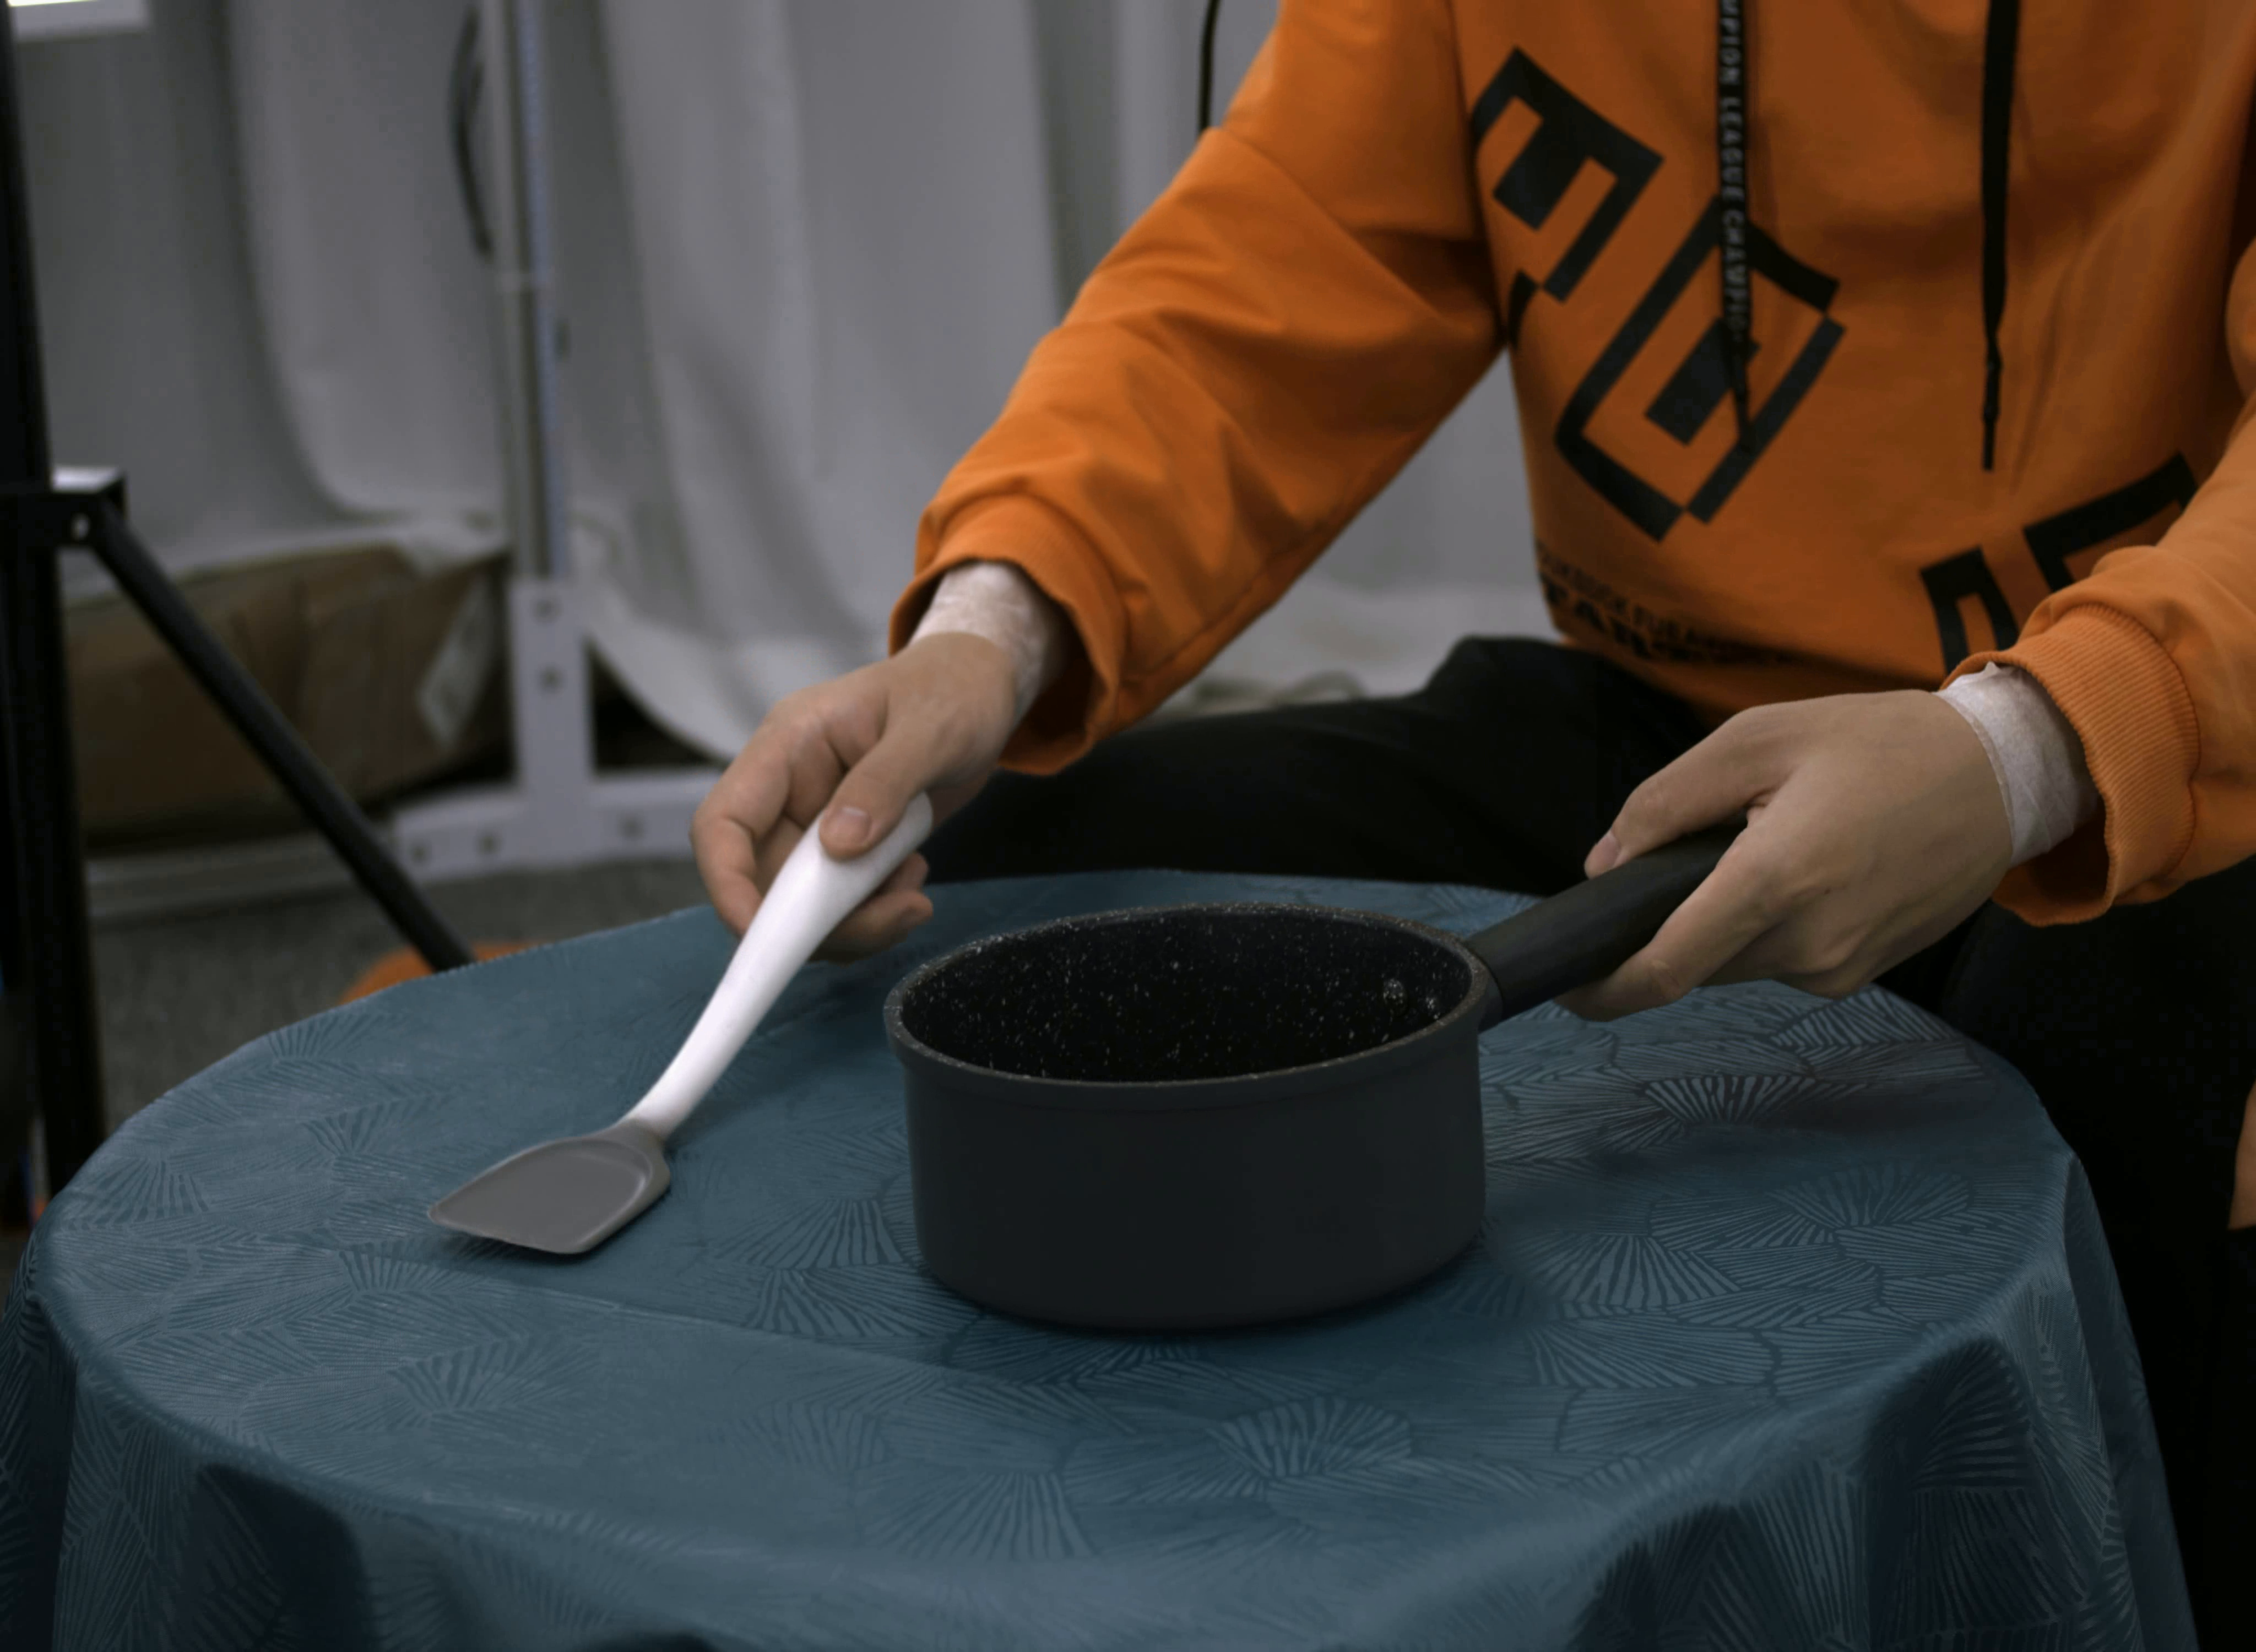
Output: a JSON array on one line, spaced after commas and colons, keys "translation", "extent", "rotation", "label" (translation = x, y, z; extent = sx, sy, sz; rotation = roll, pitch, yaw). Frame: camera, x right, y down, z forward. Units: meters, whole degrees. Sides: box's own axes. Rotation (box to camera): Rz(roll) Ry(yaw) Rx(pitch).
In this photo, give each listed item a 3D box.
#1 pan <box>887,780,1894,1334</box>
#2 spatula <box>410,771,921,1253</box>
[{"translation": [0.086, 0.063, 1.538], "extent": [0.322, 0.086, 0.176], "rotation": [-14, 19, -27], "label": "pan"}, {"translation": [-0.133, 0.061, 1.645], "extent": [0.059, 0.032, 0.285], "rotation": [15, 32, 16], "label": "spatula"}]
